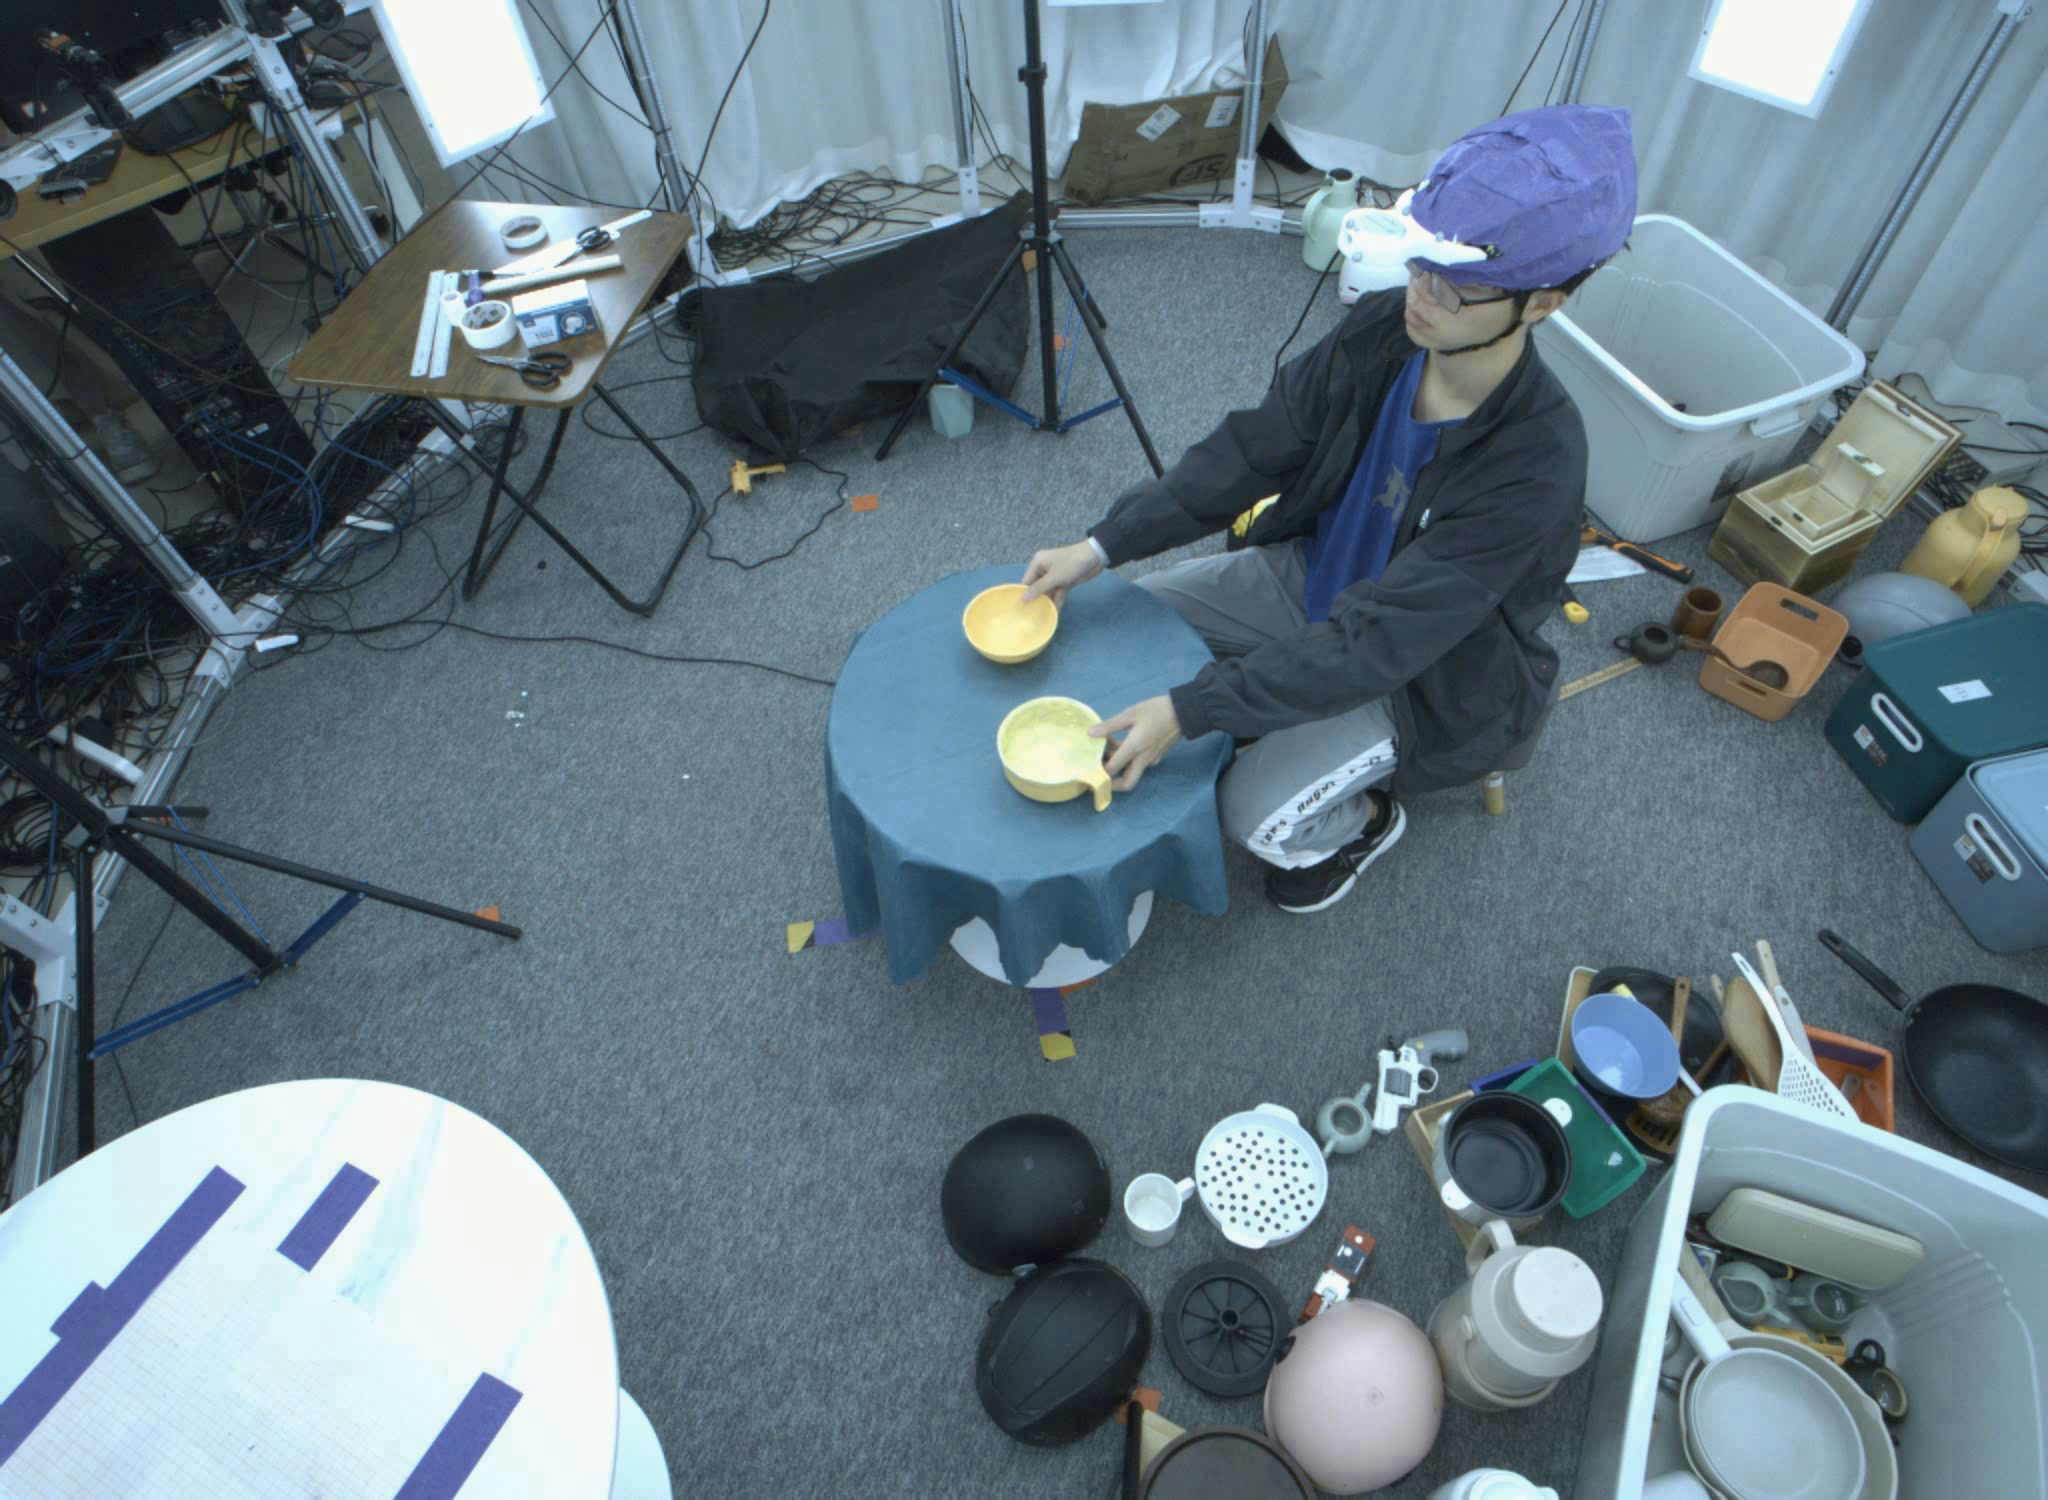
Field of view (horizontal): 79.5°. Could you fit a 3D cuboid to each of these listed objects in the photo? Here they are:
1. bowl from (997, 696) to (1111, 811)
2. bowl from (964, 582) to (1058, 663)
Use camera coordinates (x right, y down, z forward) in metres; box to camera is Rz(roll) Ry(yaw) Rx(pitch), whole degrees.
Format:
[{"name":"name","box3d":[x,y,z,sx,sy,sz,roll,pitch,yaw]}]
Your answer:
[{"name":"bowl","box3d":[0.049,0.012,1.725,0.176,0.075,0.154,35,60,25]},{"name":"bowl","box3d":[-0.019,-0.183,1.873,0.145,0.061,0.144,0,57,2]}]
